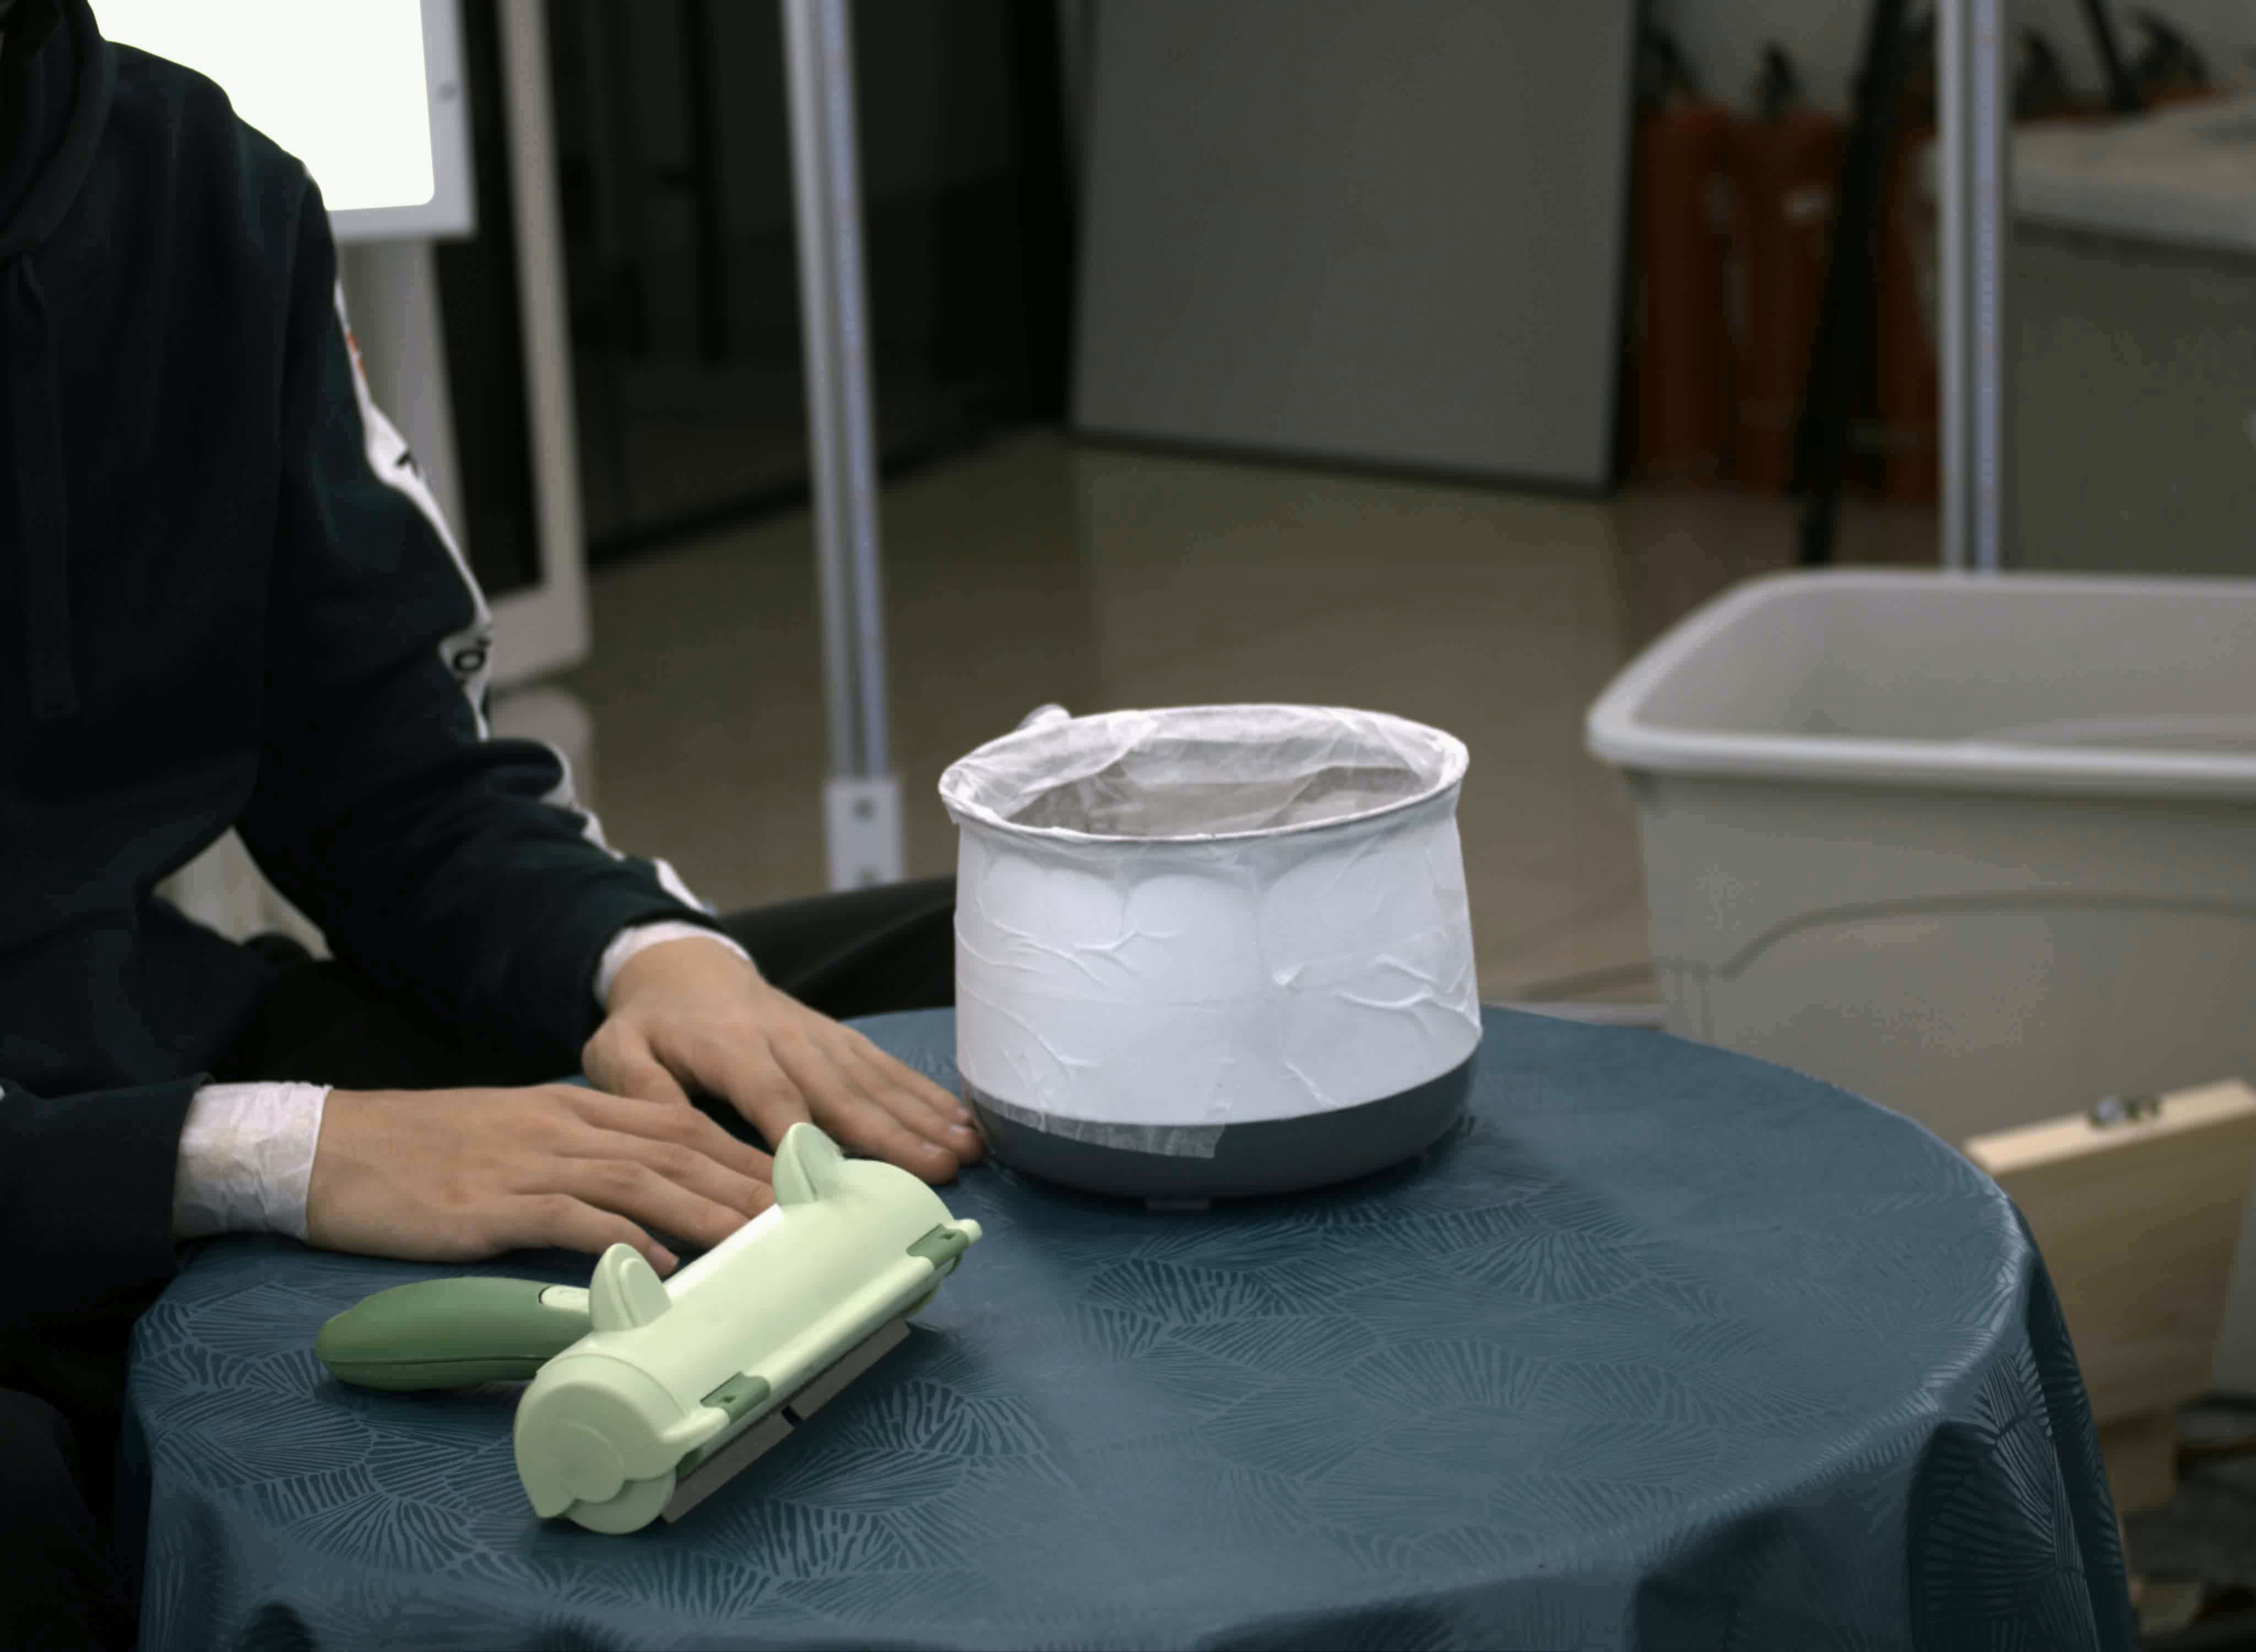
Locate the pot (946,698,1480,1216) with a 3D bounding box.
[{"bbox_3d":[0.014,0.037,1.818,0.175,0.138,0.236,-11,16,-30],"label":"pot"}]

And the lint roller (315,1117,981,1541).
[{"bbox_3d":[-0.162,0.137,1.599,0.183,0.083,0.196,7,18,23],"label":"lint roller"}]
